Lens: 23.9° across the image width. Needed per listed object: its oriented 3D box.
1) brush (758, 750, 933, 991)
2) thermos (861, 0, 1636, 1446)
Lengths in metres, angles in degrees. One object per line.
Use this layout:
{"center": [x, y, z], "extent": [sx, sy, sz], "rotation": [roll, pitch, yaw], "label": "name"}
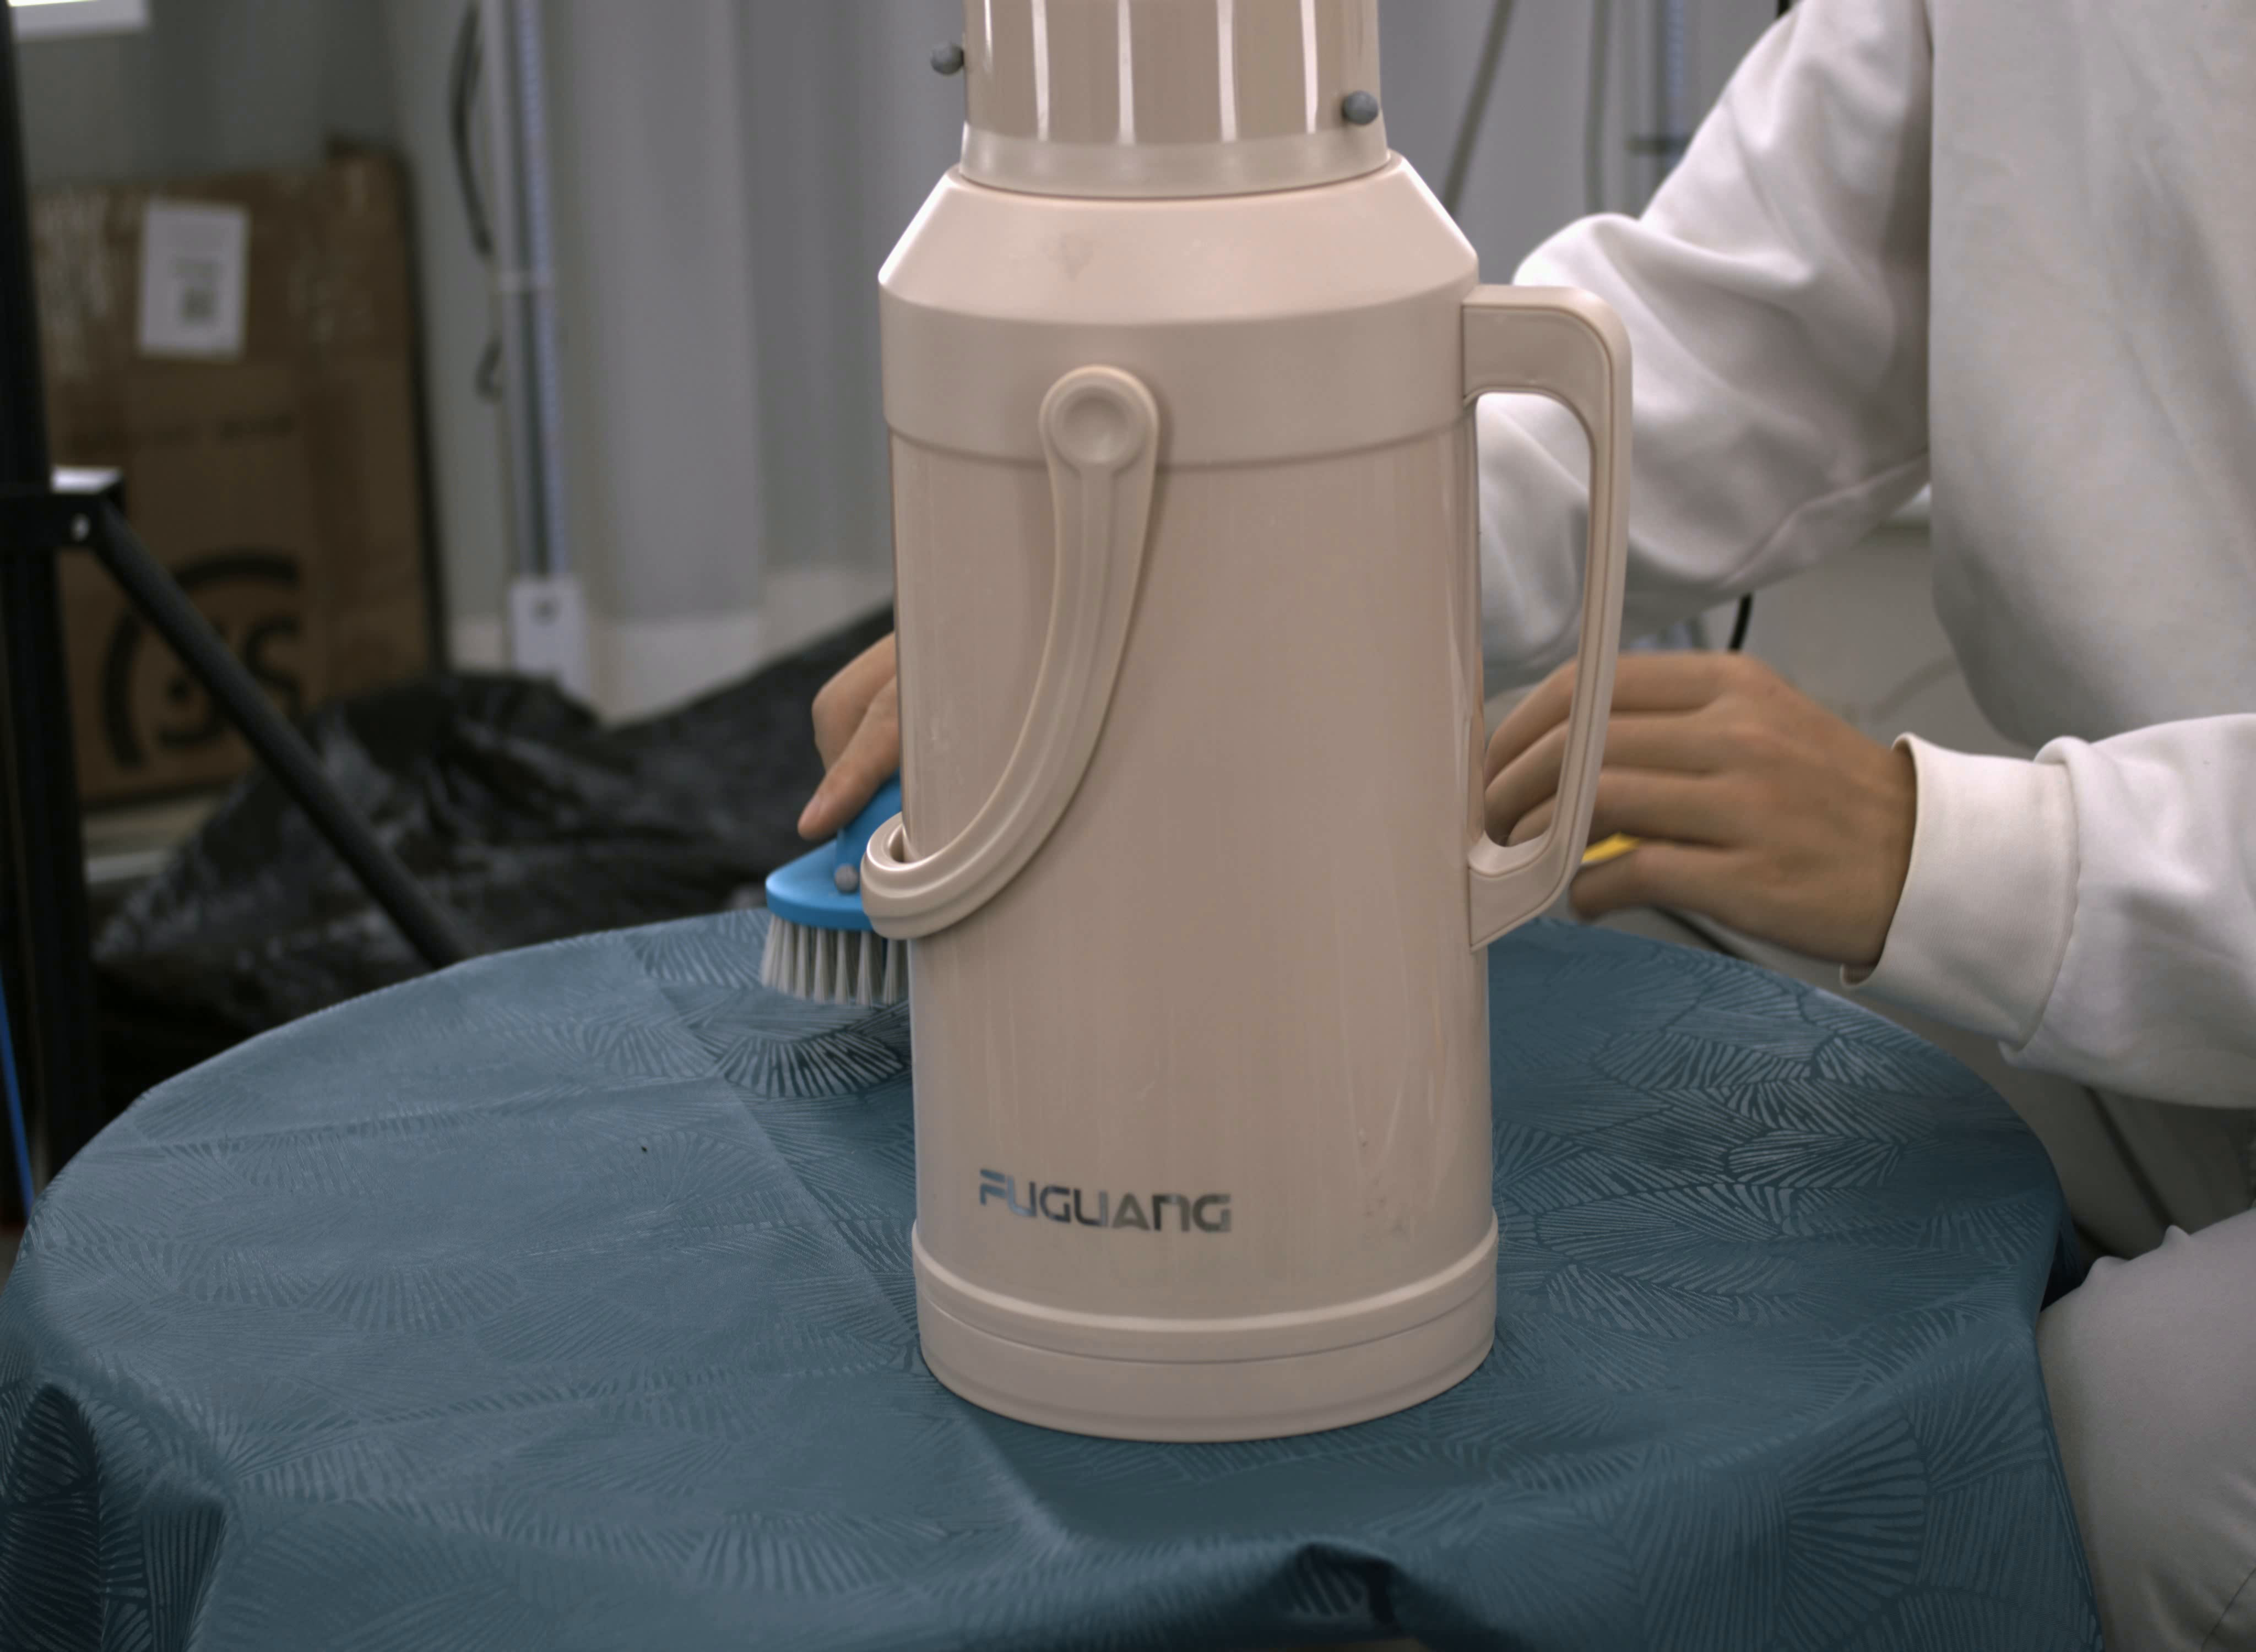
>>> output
{"center": [-0.066, 0.006, 1.712], "extent": [0.085, 0.064, 0.139], "rotation": [1, 14, 26], "label": "brush"}
{"center": [0.029, -0.051, 1.391], "extent": [0.208, 0.406, 0.174], "rotation": [2, 14, 15], "label": "thermos"}
